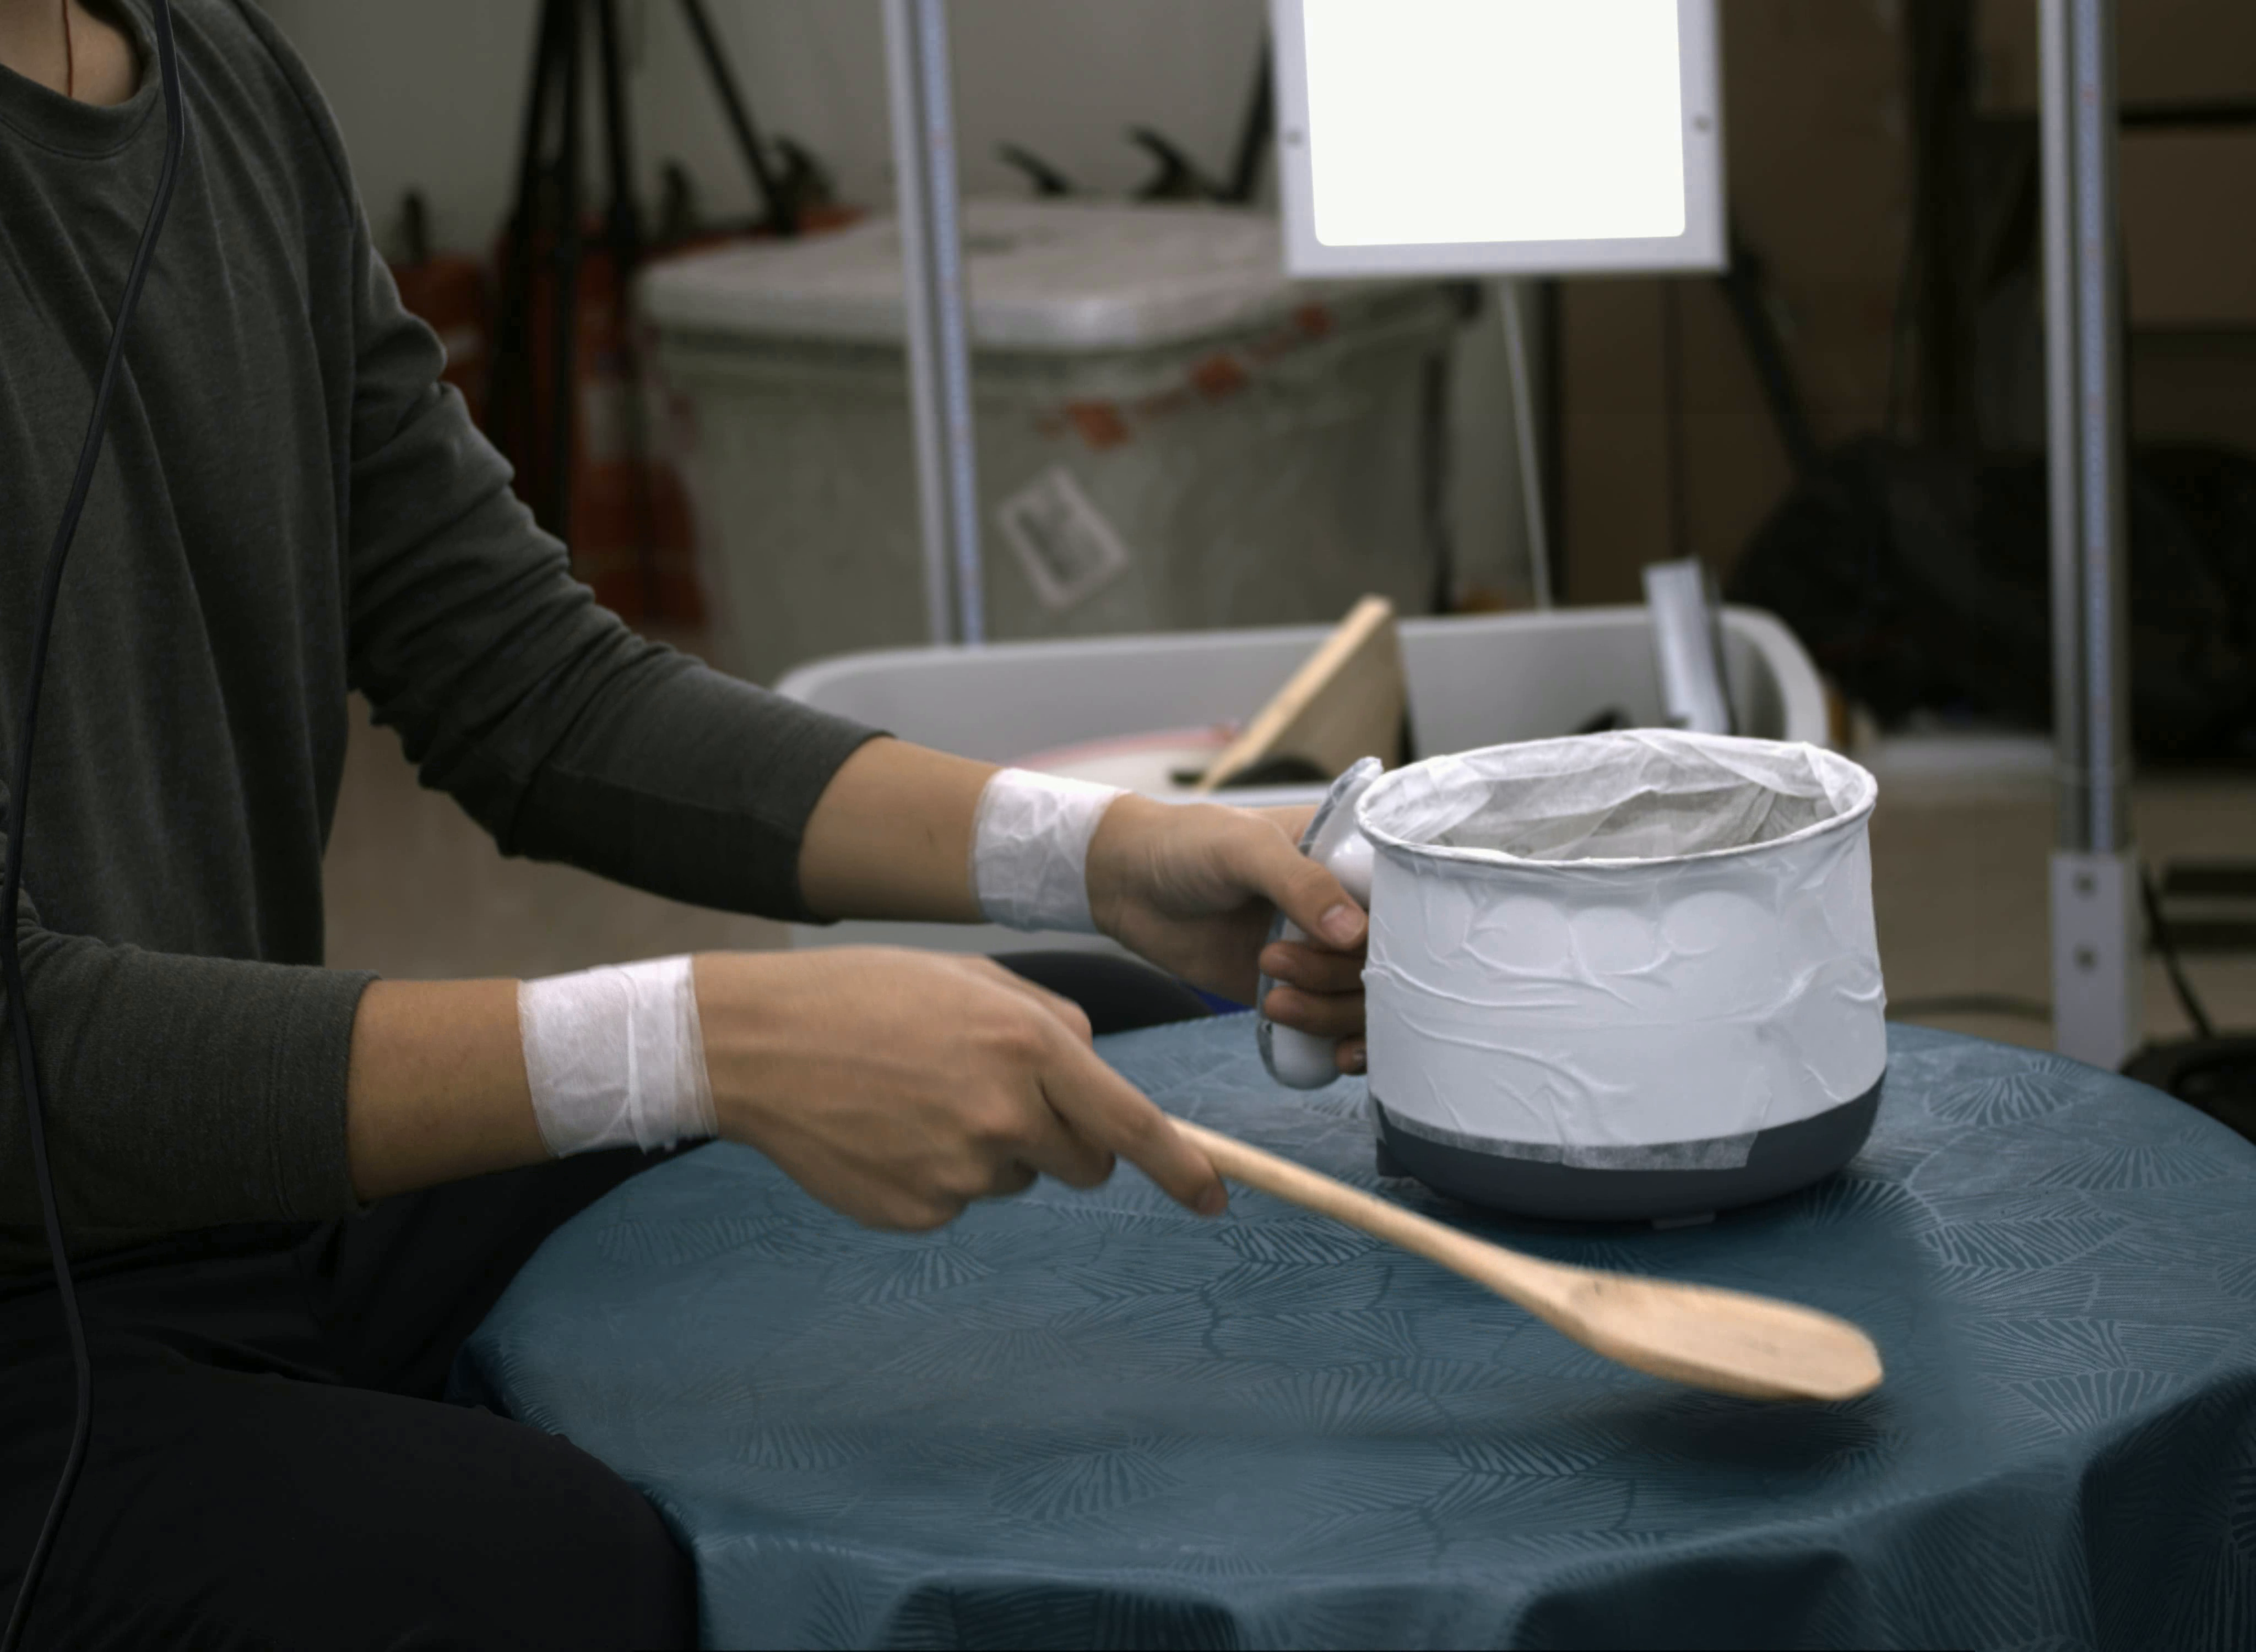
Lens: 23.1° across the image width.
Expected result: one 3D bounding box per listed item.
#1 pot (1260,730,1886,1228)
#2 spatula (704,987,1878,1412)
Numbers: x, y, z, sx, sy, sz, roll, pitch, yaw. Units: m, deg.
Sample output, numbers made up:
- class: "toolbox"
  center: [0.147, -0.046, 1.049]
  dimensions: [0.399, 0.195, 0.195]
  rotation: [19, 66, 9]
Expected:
- class: "pot"
  center: [0.146, 0.048, 1.878]
  dimensions: [0.238, 0.137, 0.174]
  rotation: [6, 17, 35]
- class: "spatula"
  center: [0.042, 0.111, 1.665]
  dimensions: [0.395, 0.018, 0.094]
  rotation: [20, 9, 20]
